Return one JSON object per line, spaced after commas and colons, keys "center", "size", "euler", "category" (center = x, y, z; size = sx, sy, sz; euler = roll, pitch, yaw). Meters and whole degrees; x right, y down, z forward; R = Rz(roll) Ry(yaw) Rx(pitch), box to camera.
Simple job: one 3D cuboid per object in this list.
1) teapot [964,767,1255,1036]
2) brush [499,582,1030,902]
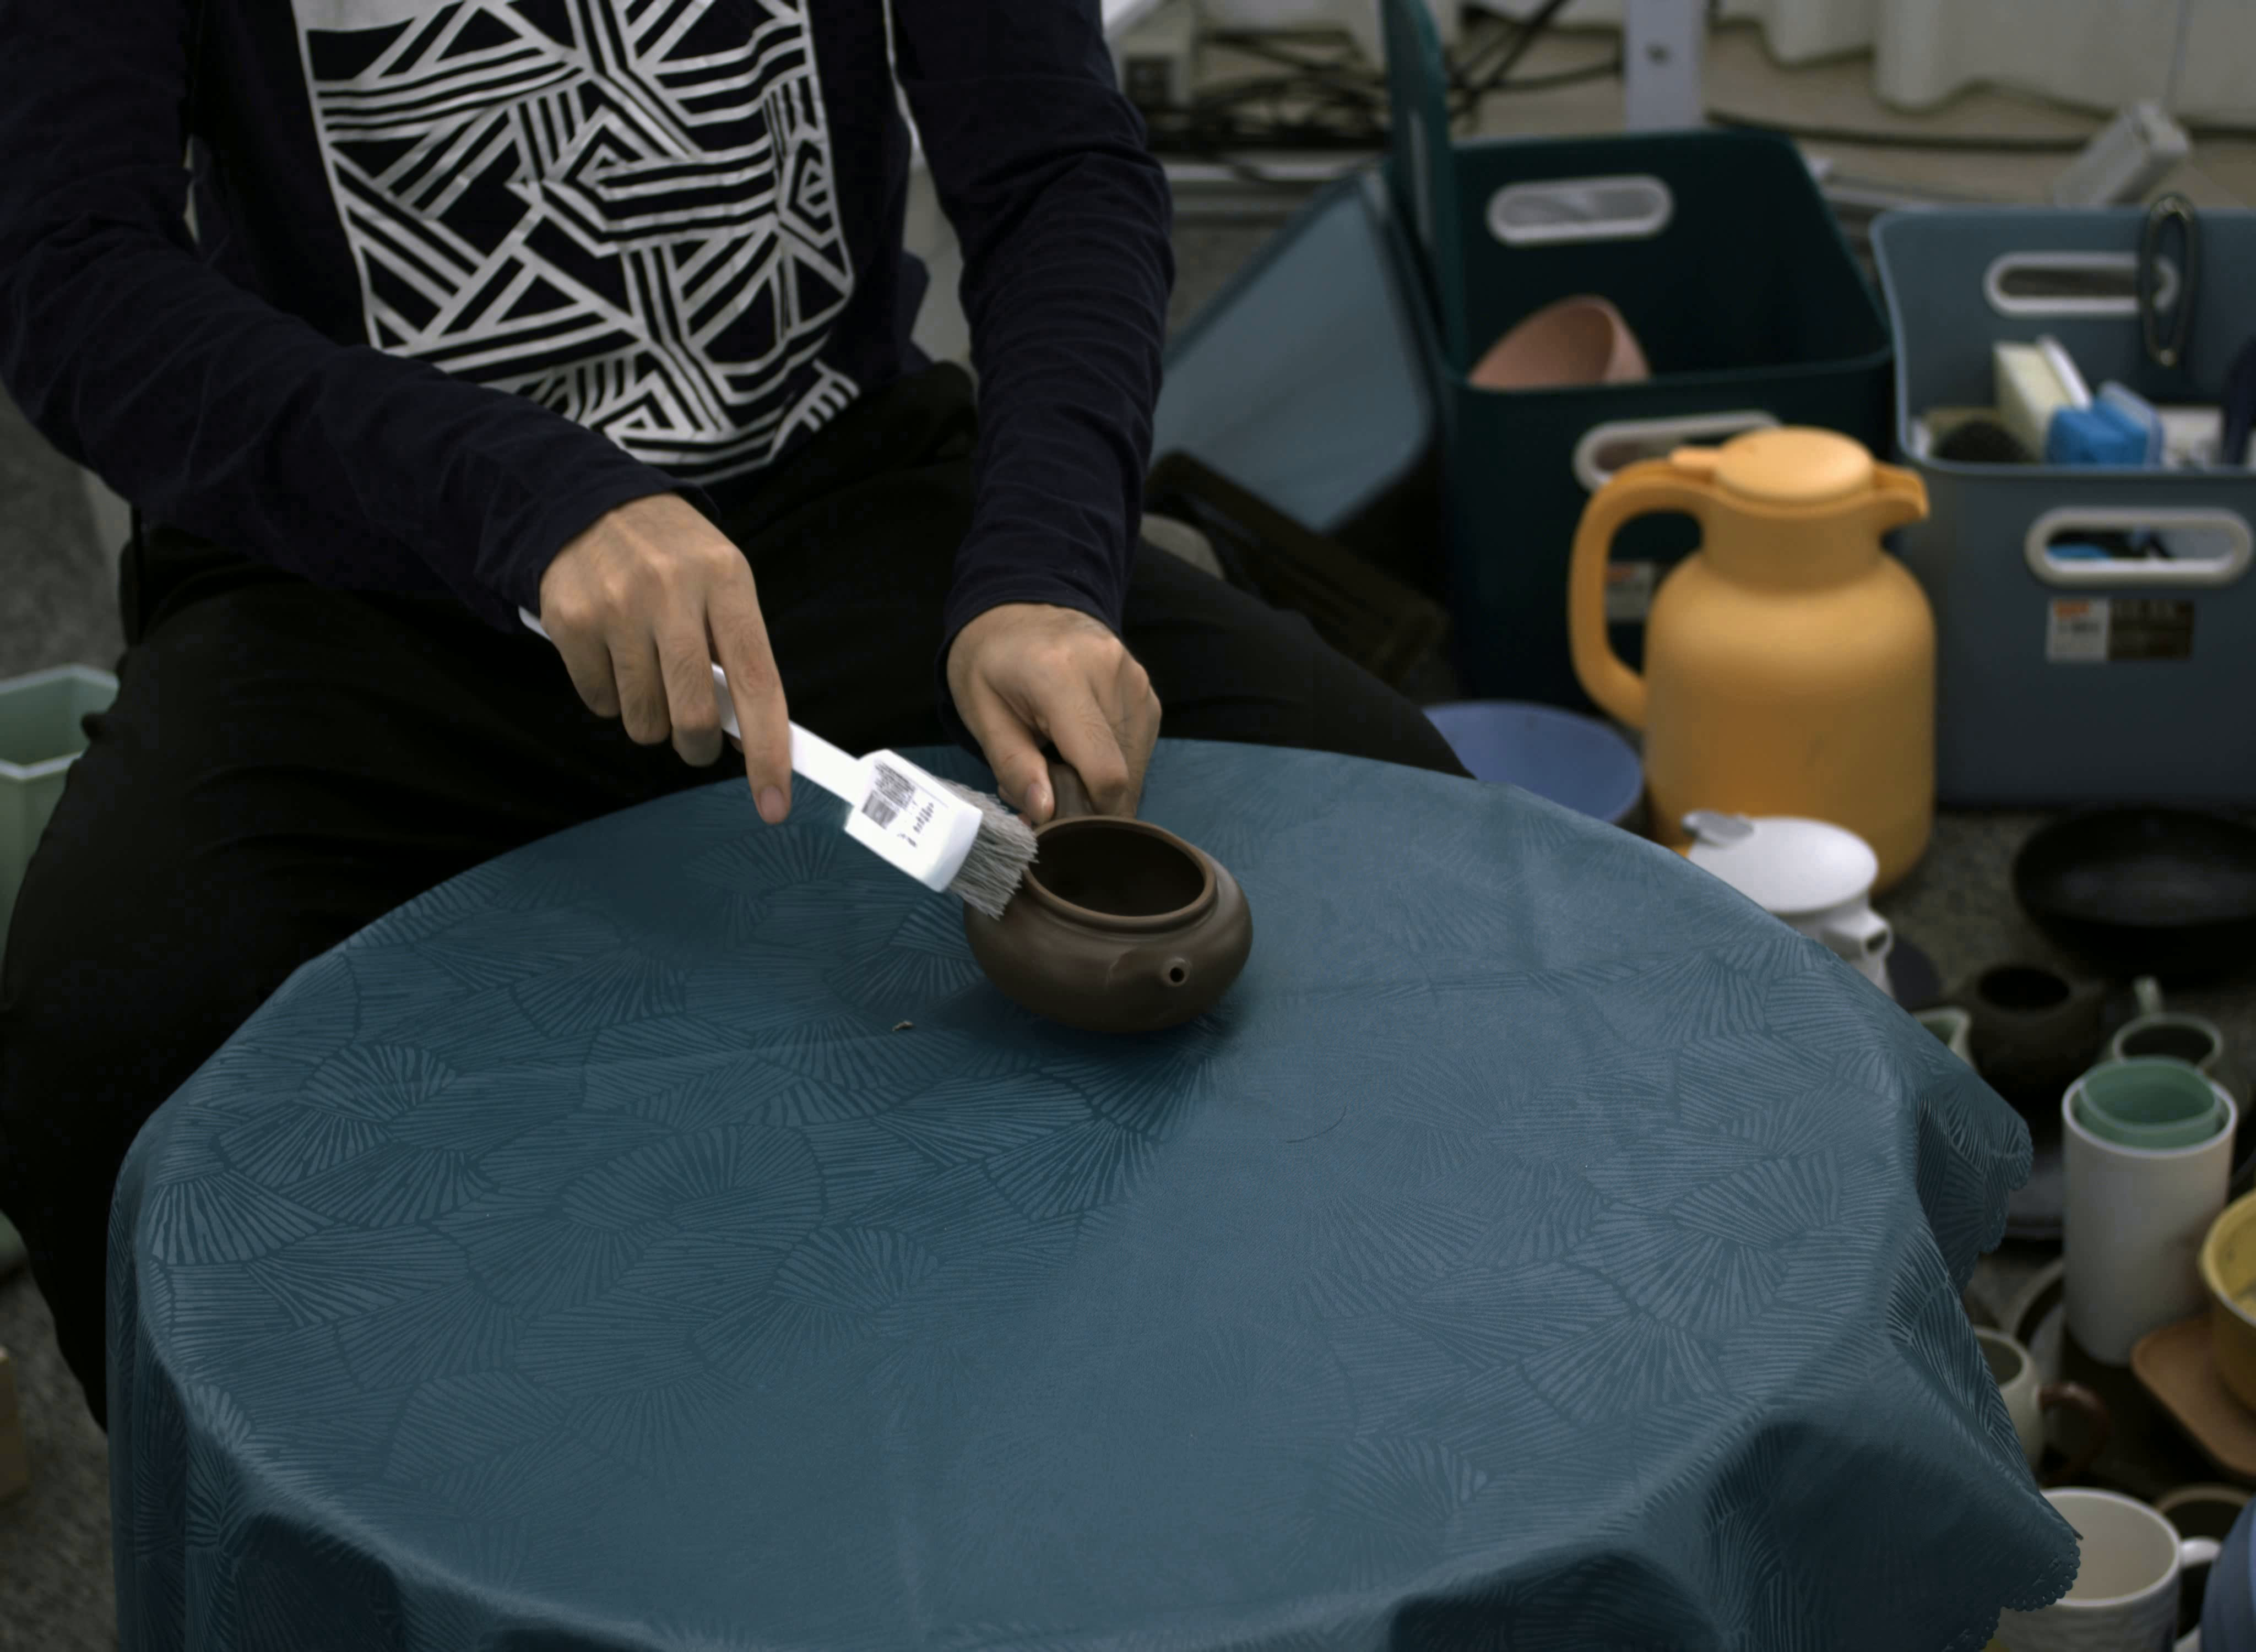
{"center": [-0.008, 0.031, 1.967], "size": [0.103, 0.053, 0.155], "euler": [-5, 34, -23], "category": "teapot"}
{"center": [-0.129, -0.032, 1.998], "size": [0.243, 0.034, 0.050], "euler": [27, 4, 36], "category": "brush"}
